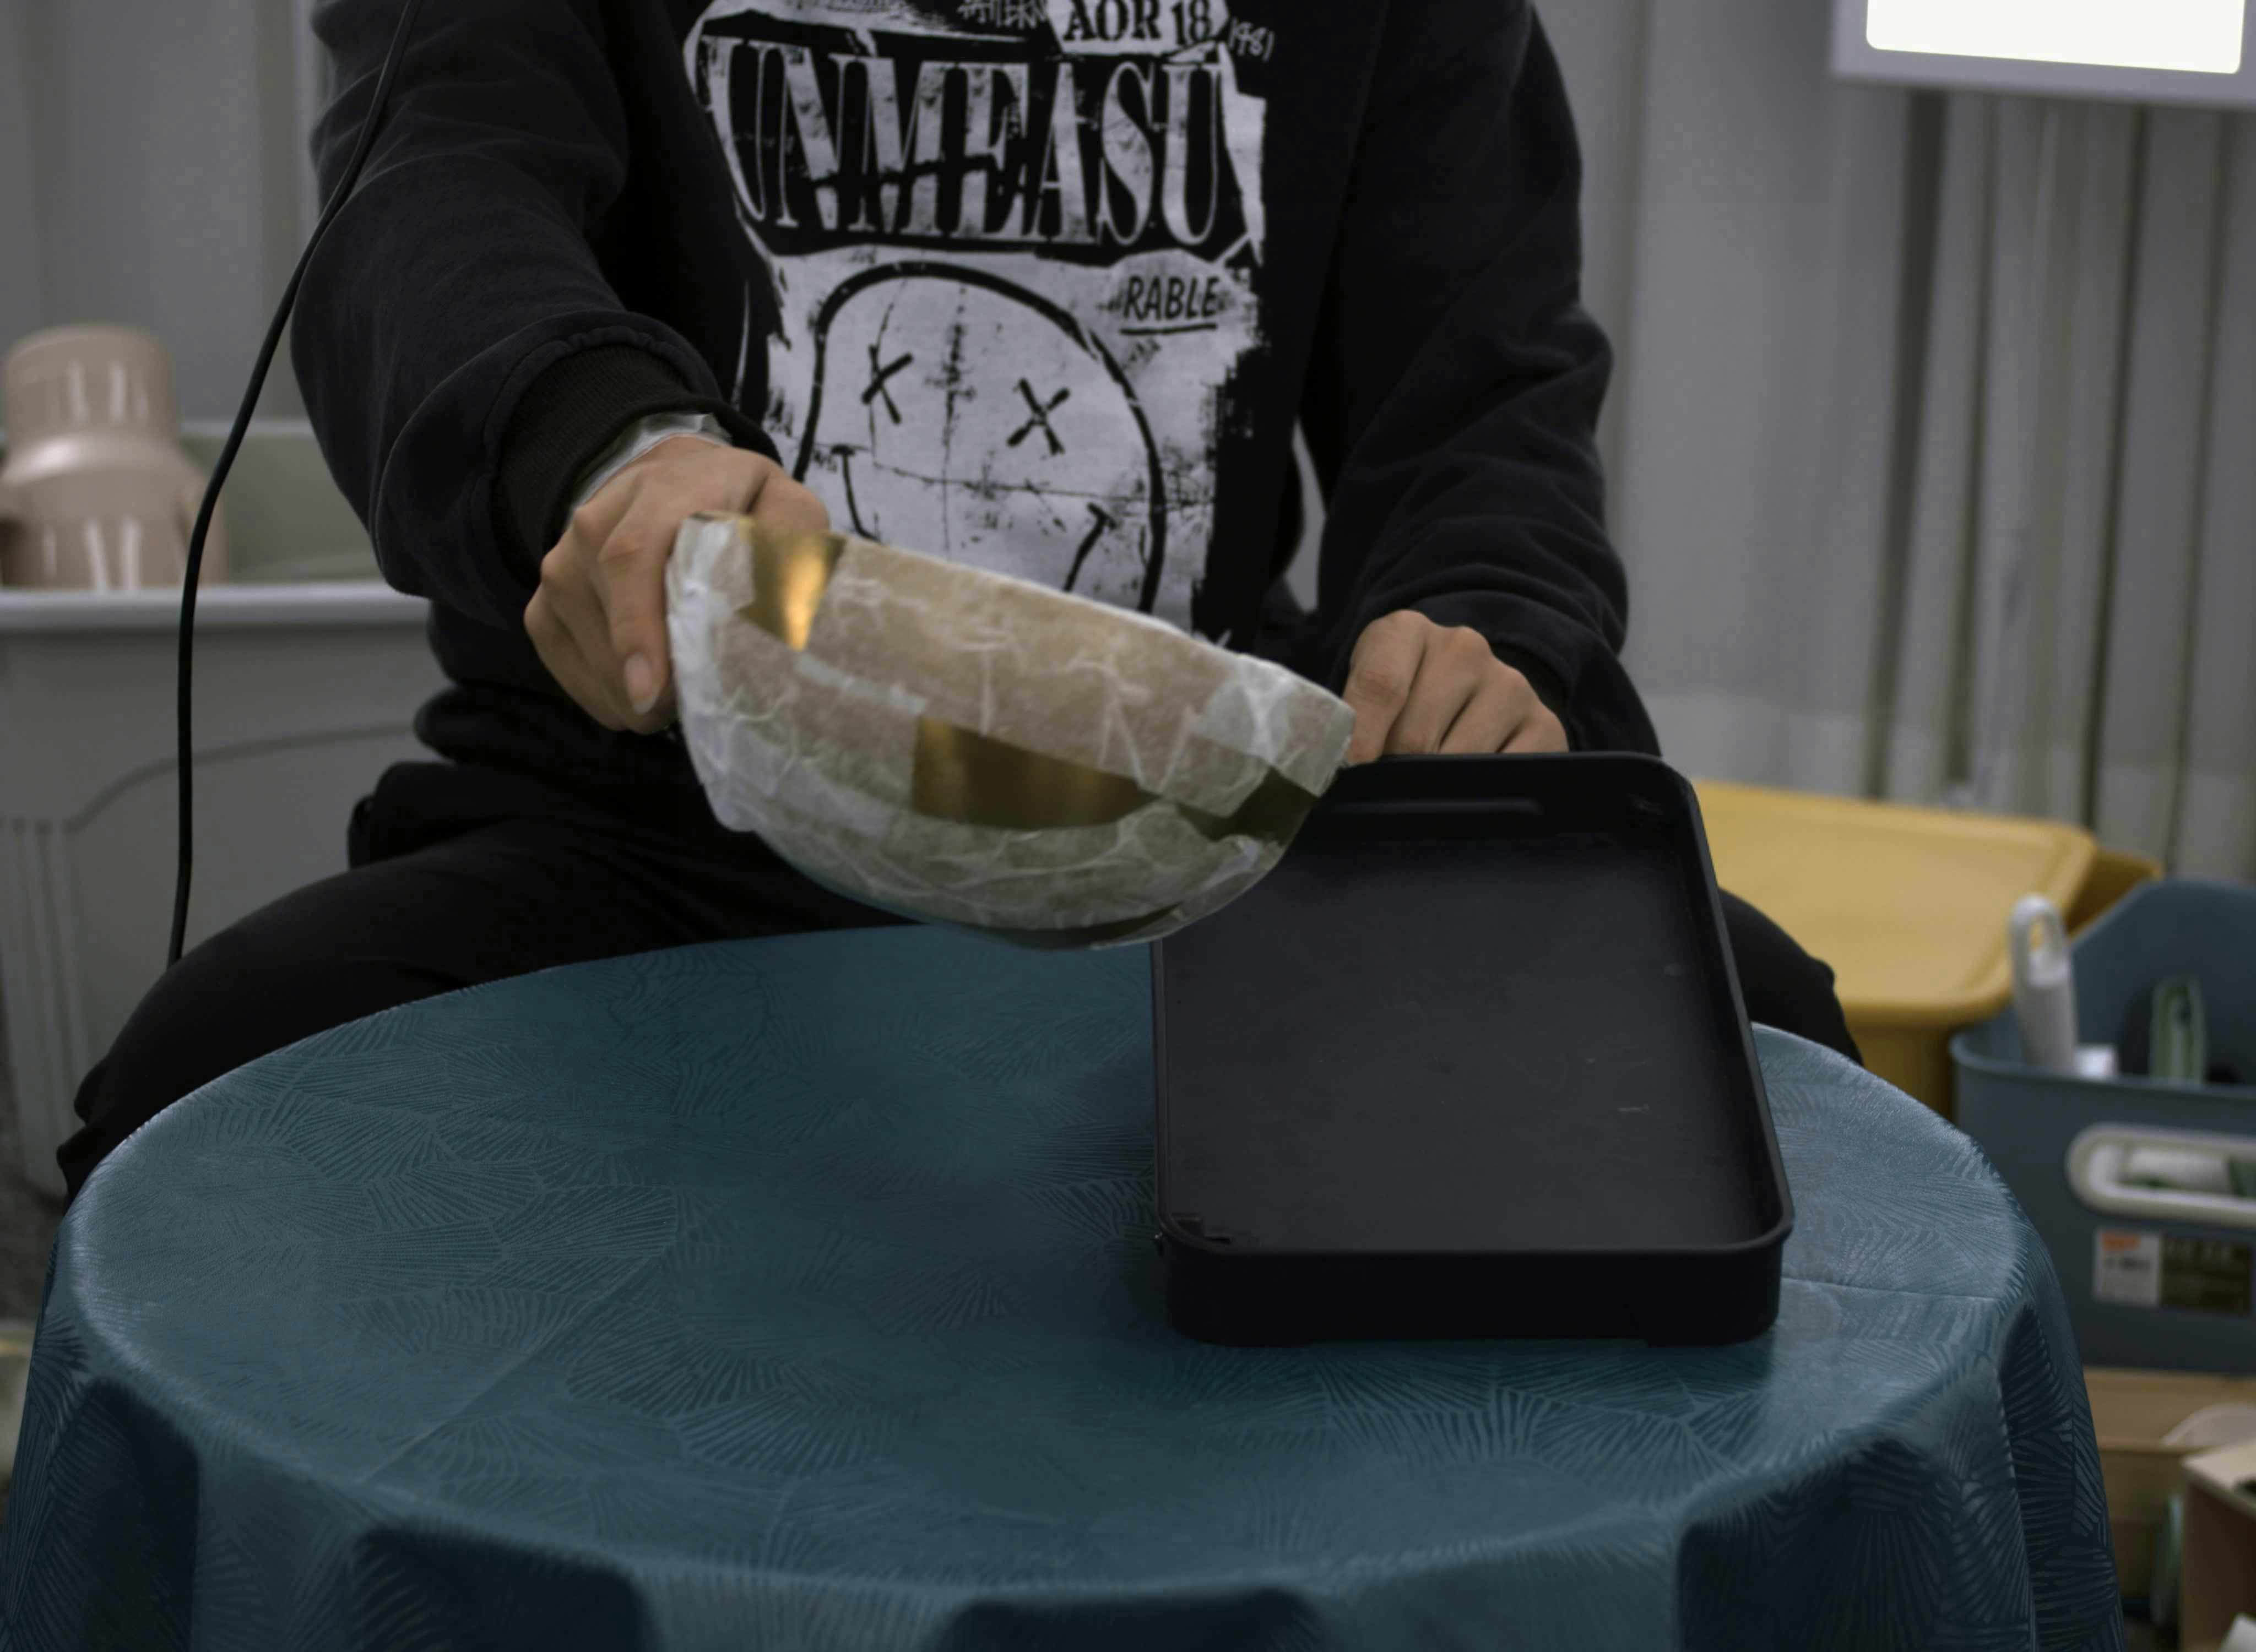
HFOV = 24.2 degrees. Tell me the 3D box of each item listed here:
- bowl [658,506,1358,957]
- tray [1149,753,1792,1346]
[{"bbox_3d":[-0.044,-0.015,1.487,0.214,0.095,0.215,15,-3,1],"label":"bowl"},{"bbox_3d":[0.098,0.062,1.627,0.183,0.037,0.315,-1,27,1],"label":"tray"}]
